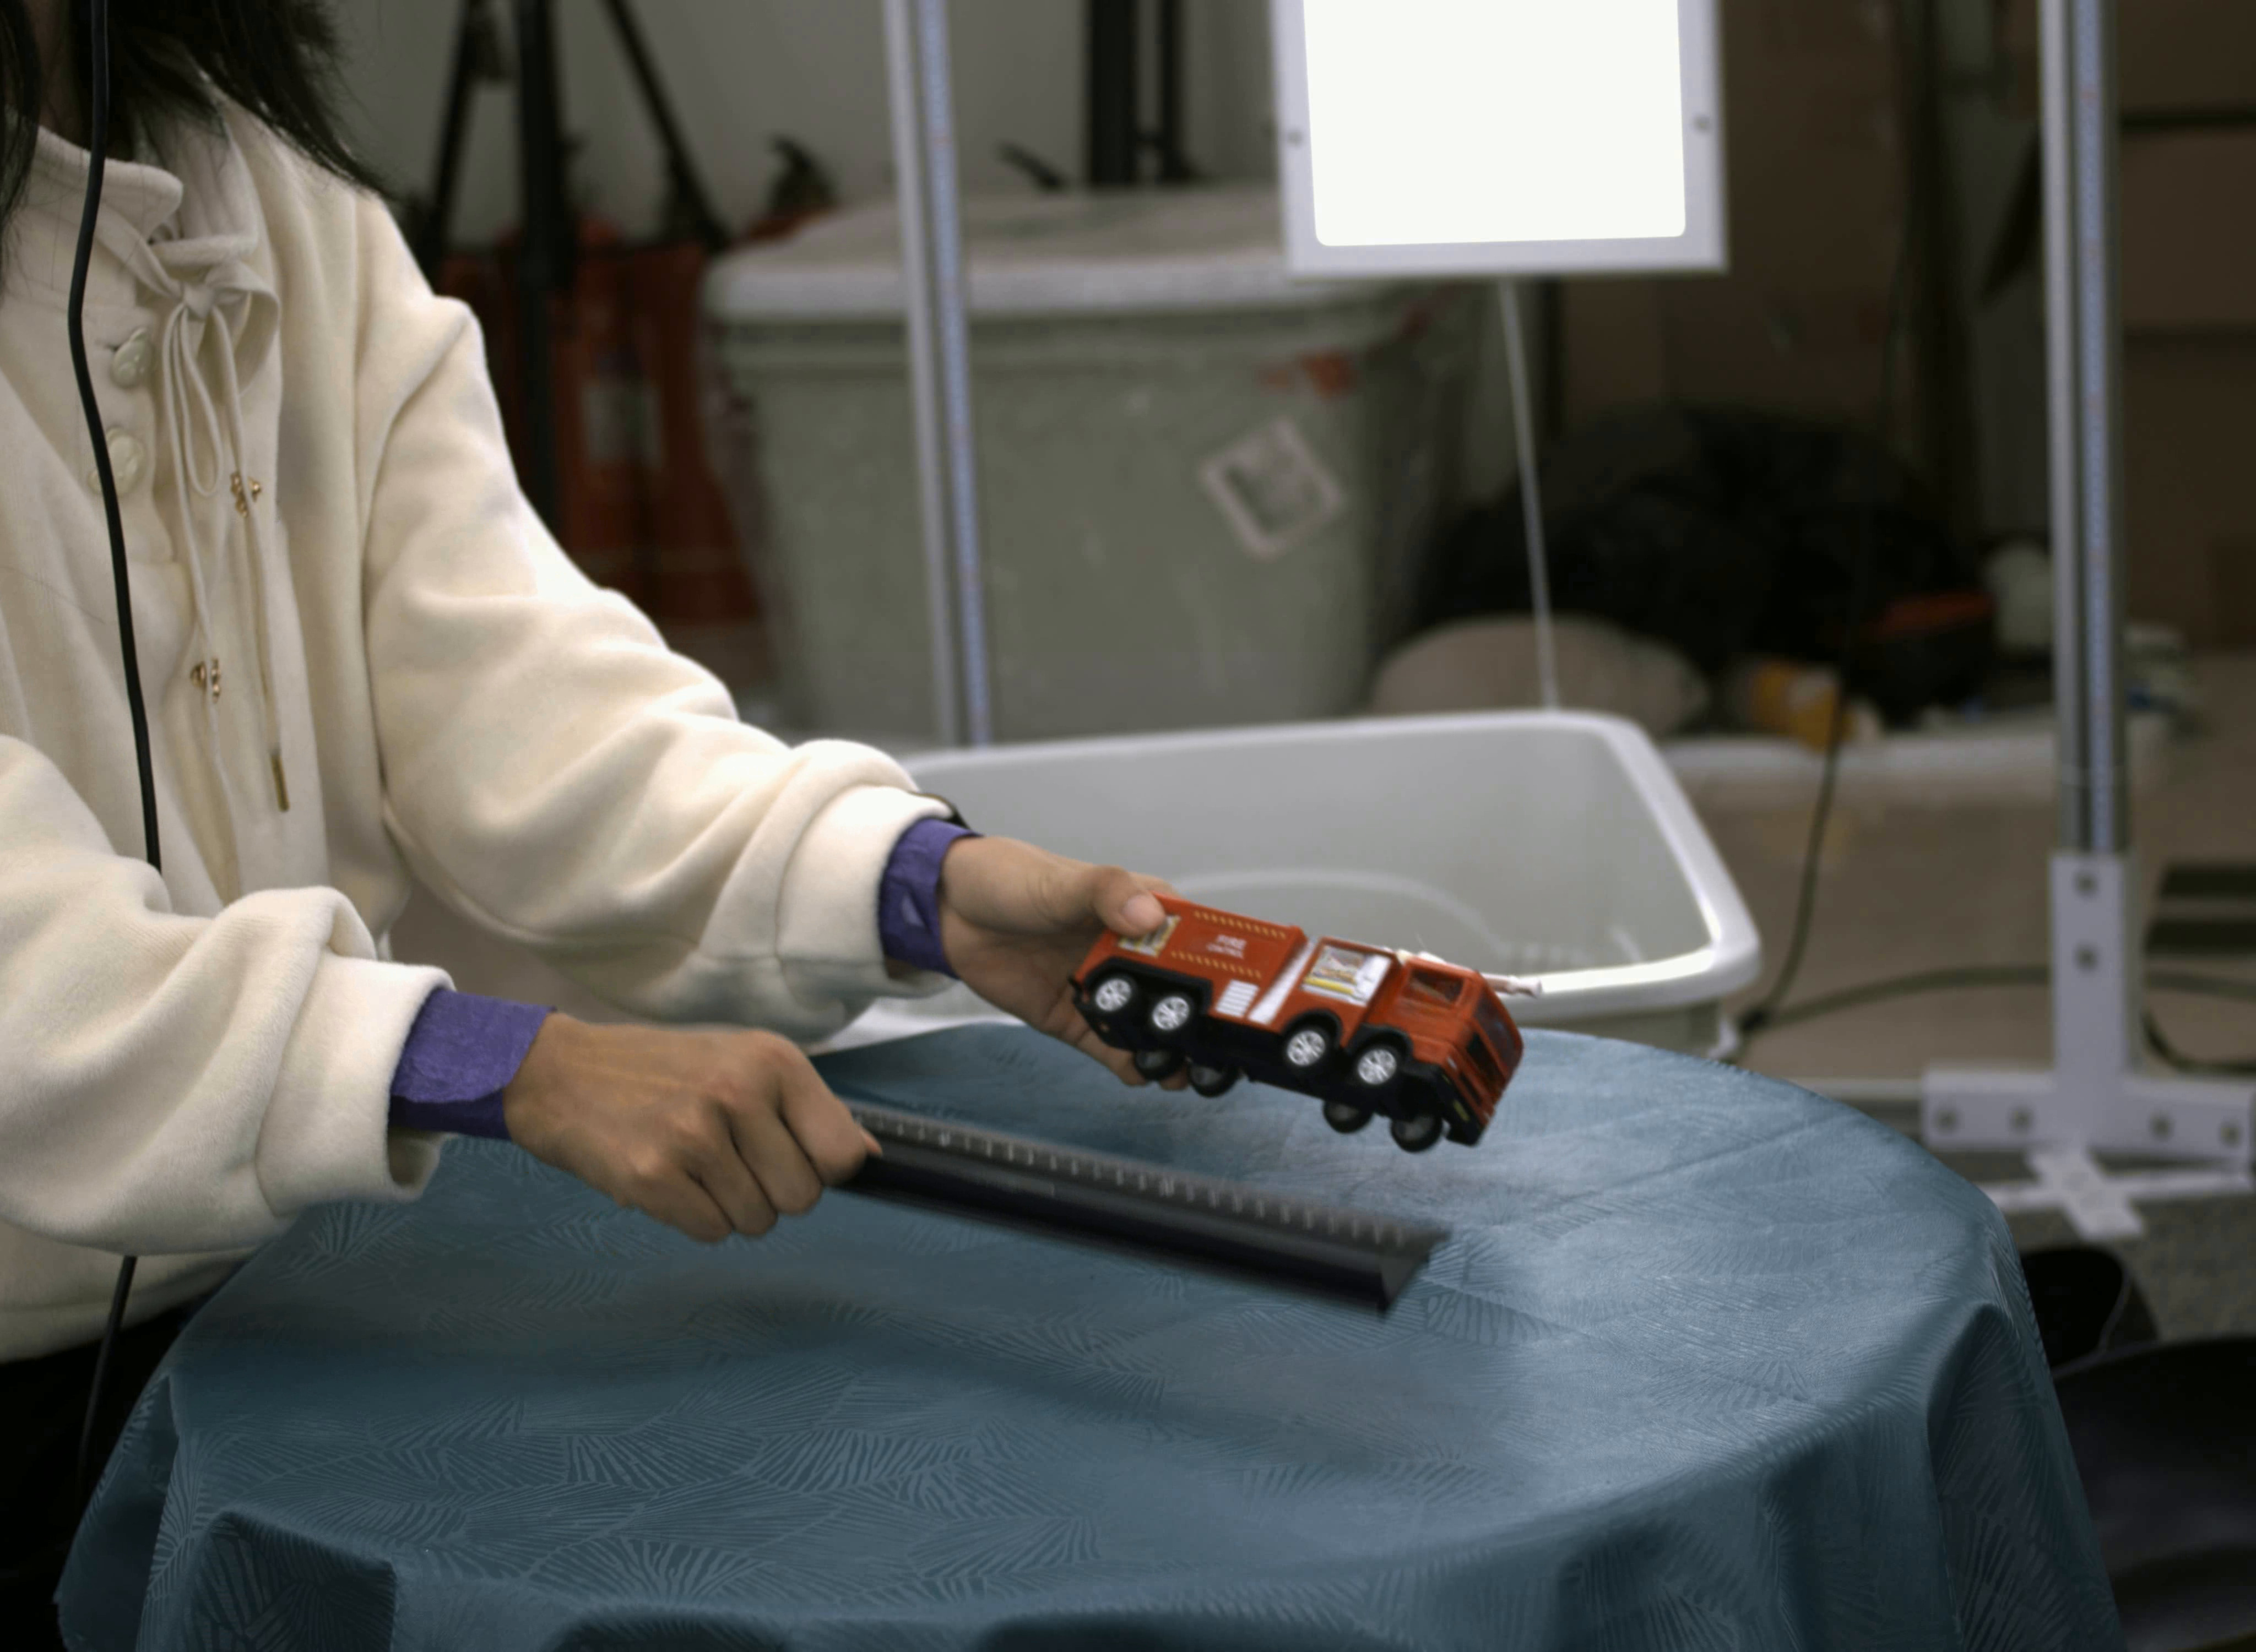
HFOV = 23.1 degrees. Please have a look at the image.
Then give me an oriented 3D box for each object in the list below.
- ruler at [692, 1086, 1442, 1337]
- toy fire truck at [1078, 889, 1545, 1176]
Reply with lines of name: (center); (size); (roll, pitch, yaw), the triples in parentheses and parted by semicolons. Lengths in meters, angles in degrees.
ruler: (-0.026, 0.113, 1.730); (0.319, 0.017, 0.038); (10, 46, 46)
toy fire truck: (0.062, 0.069, 1.899); (0.171, 0.053, 0.070); (11, 64, 39)
